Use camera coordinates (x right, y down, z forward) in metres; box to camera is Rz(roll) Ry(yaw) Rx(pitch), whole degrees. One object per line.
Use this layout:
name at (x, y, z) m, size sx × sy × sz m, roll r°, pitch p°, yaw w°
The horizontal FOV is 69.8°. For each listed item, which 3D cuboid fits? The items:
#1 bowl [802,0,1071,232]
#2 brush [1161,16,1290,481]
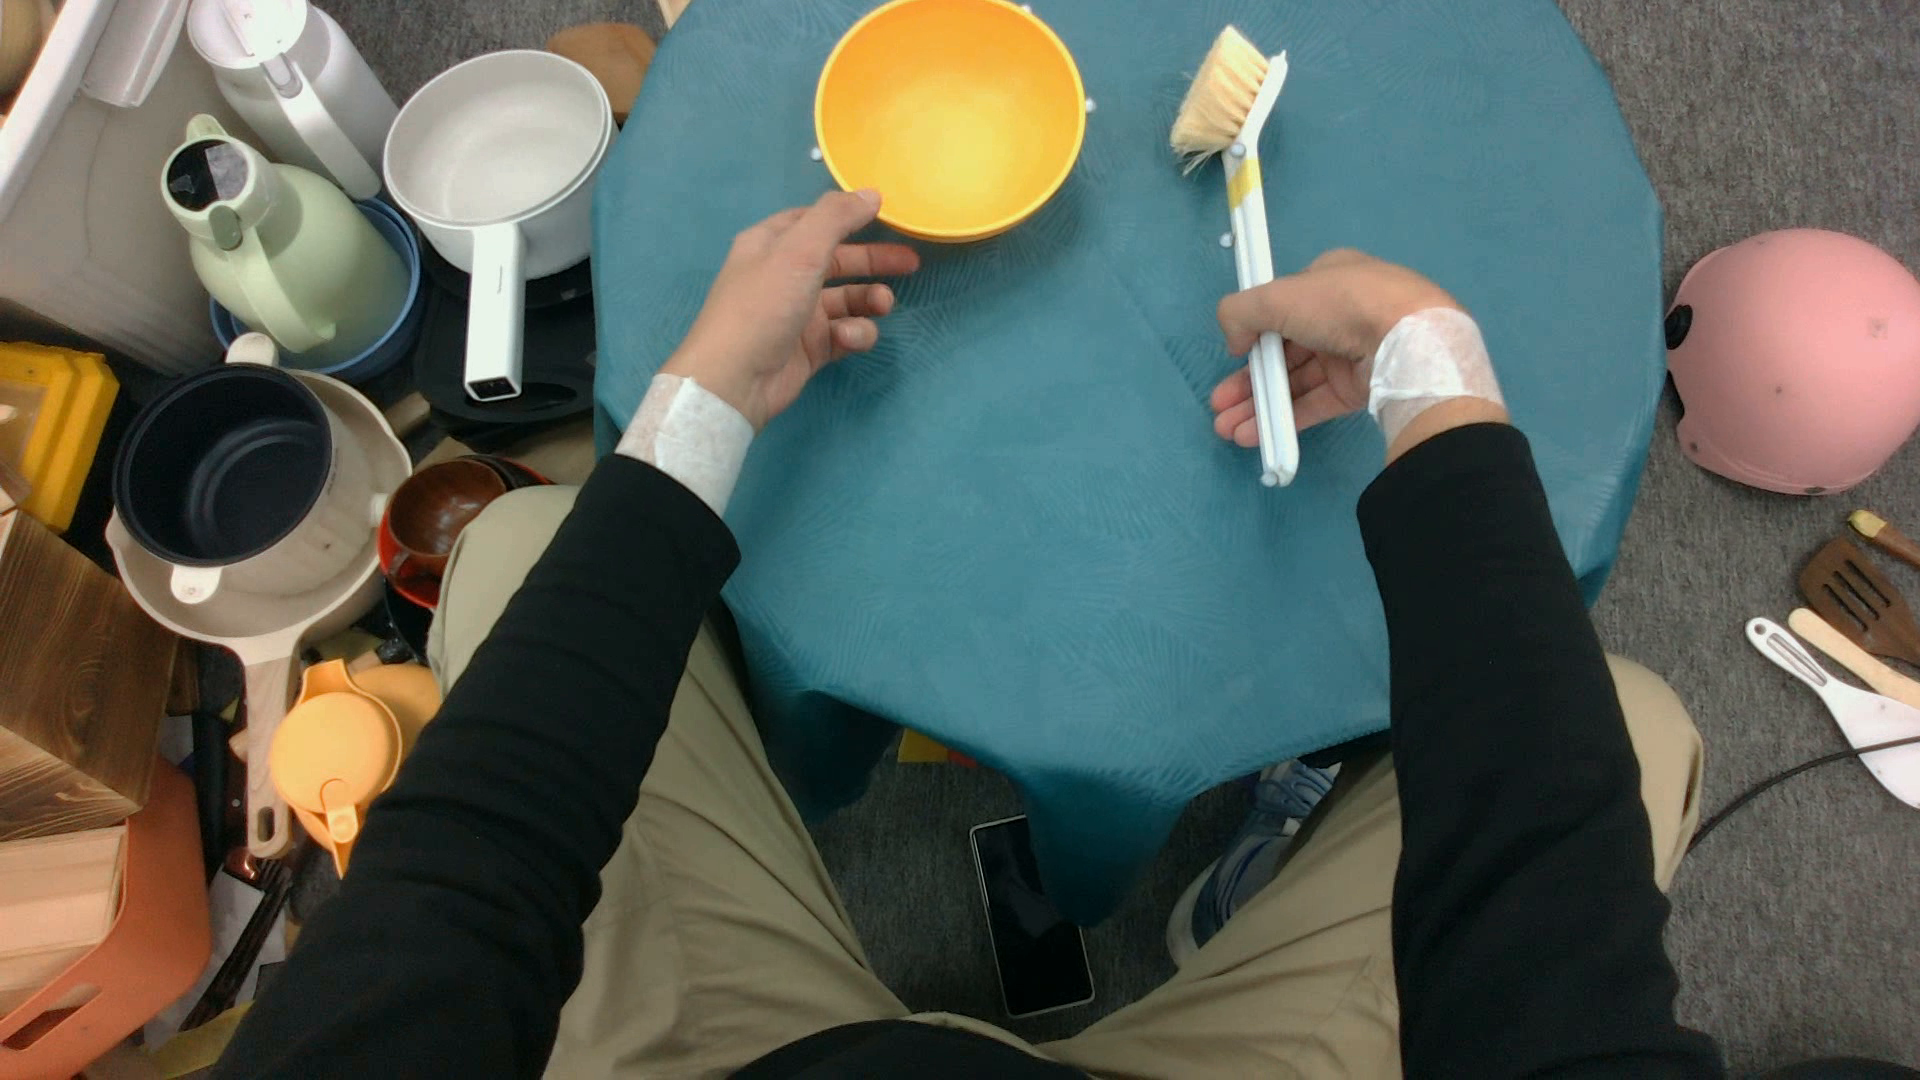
bowl at (-0.012, -0.228, 0.764) m, size 0.145 × 0.060 × 0.145 m, roll 0°, pitch 77°, yaw 1°
brush at (0.140, -0.159, 0.728) m, size 0.056 × 0.068 × 0.267 m, roll 5°, pitch 71°, yaw -8°
